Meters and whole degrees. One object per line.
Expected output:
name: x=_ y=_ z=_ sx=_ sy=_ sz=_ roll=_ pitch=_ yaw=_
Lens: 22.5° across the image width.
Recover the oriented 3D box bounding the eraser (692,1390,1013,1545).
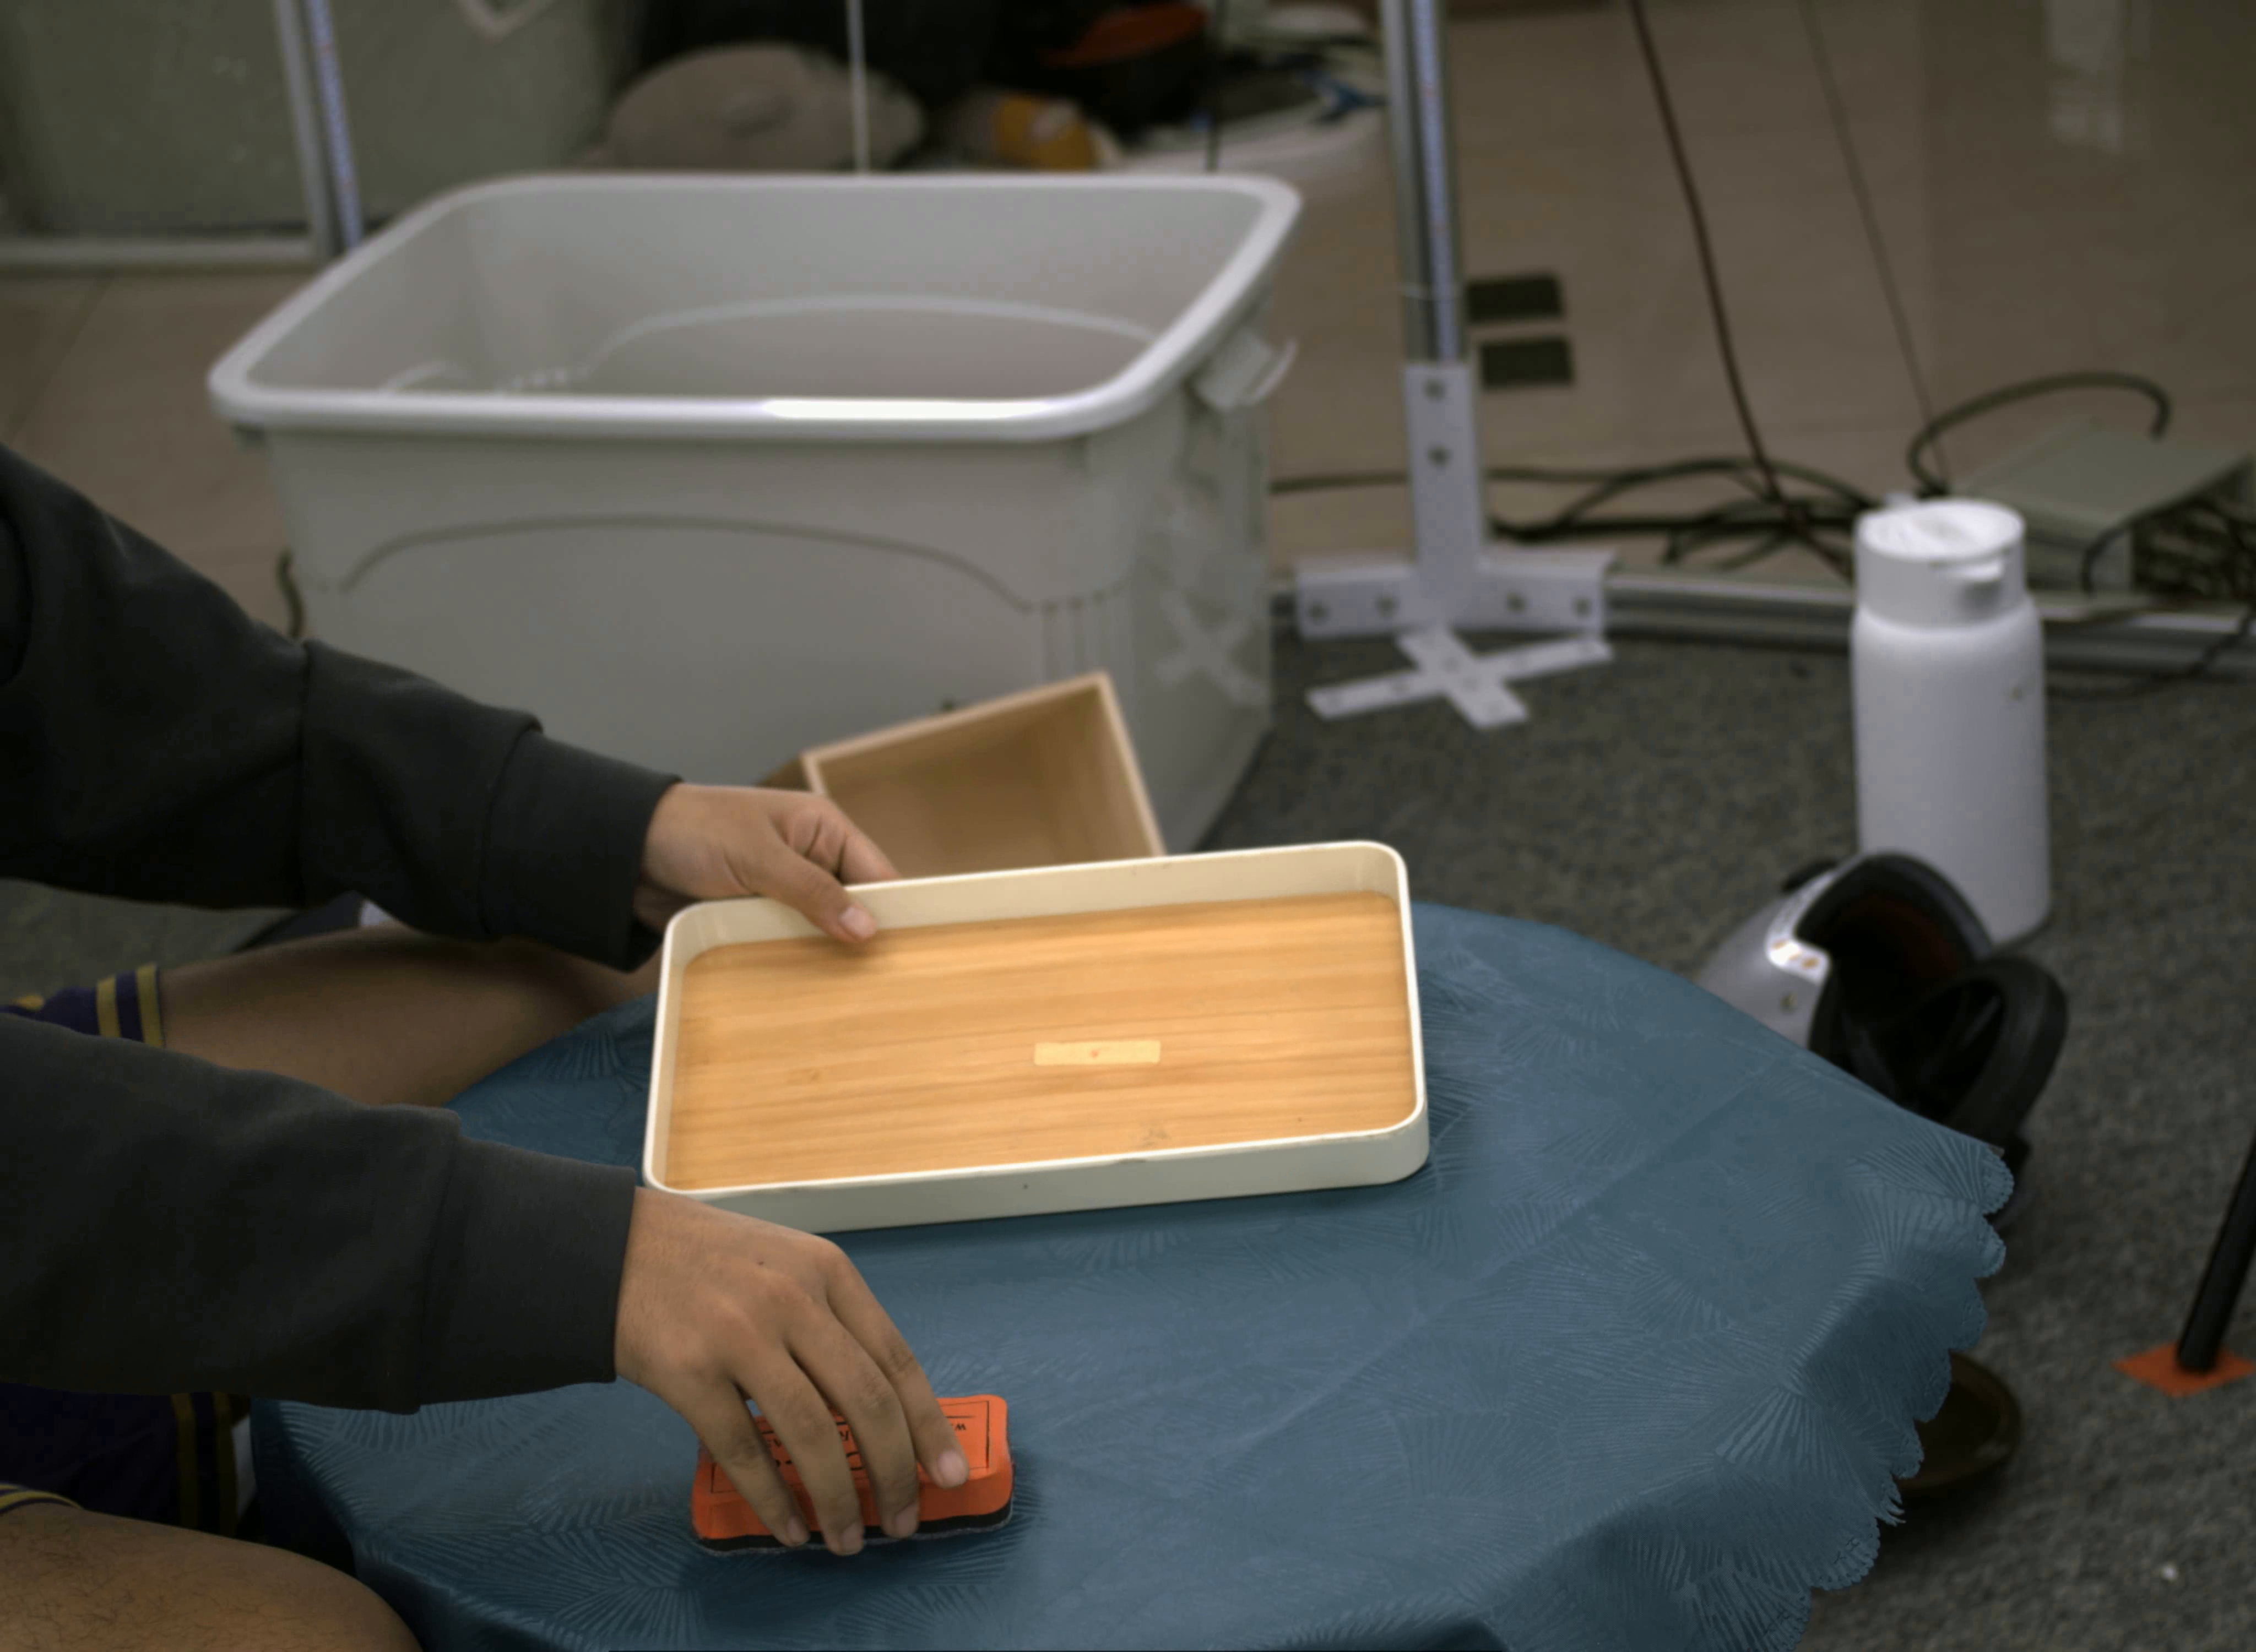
eraser: x=-0.094 y=0.221 z=1.959 sx=0.108 sy=0.023 sz=0.058 roll=-7 pitch=18 yaw=3

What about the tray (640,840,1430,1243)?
tray: x=-0.036 y=0.082 z=2.205 sx=0.300 sy=0.028 sz=0.188 roll=-5 pitch=36 yaw=3
